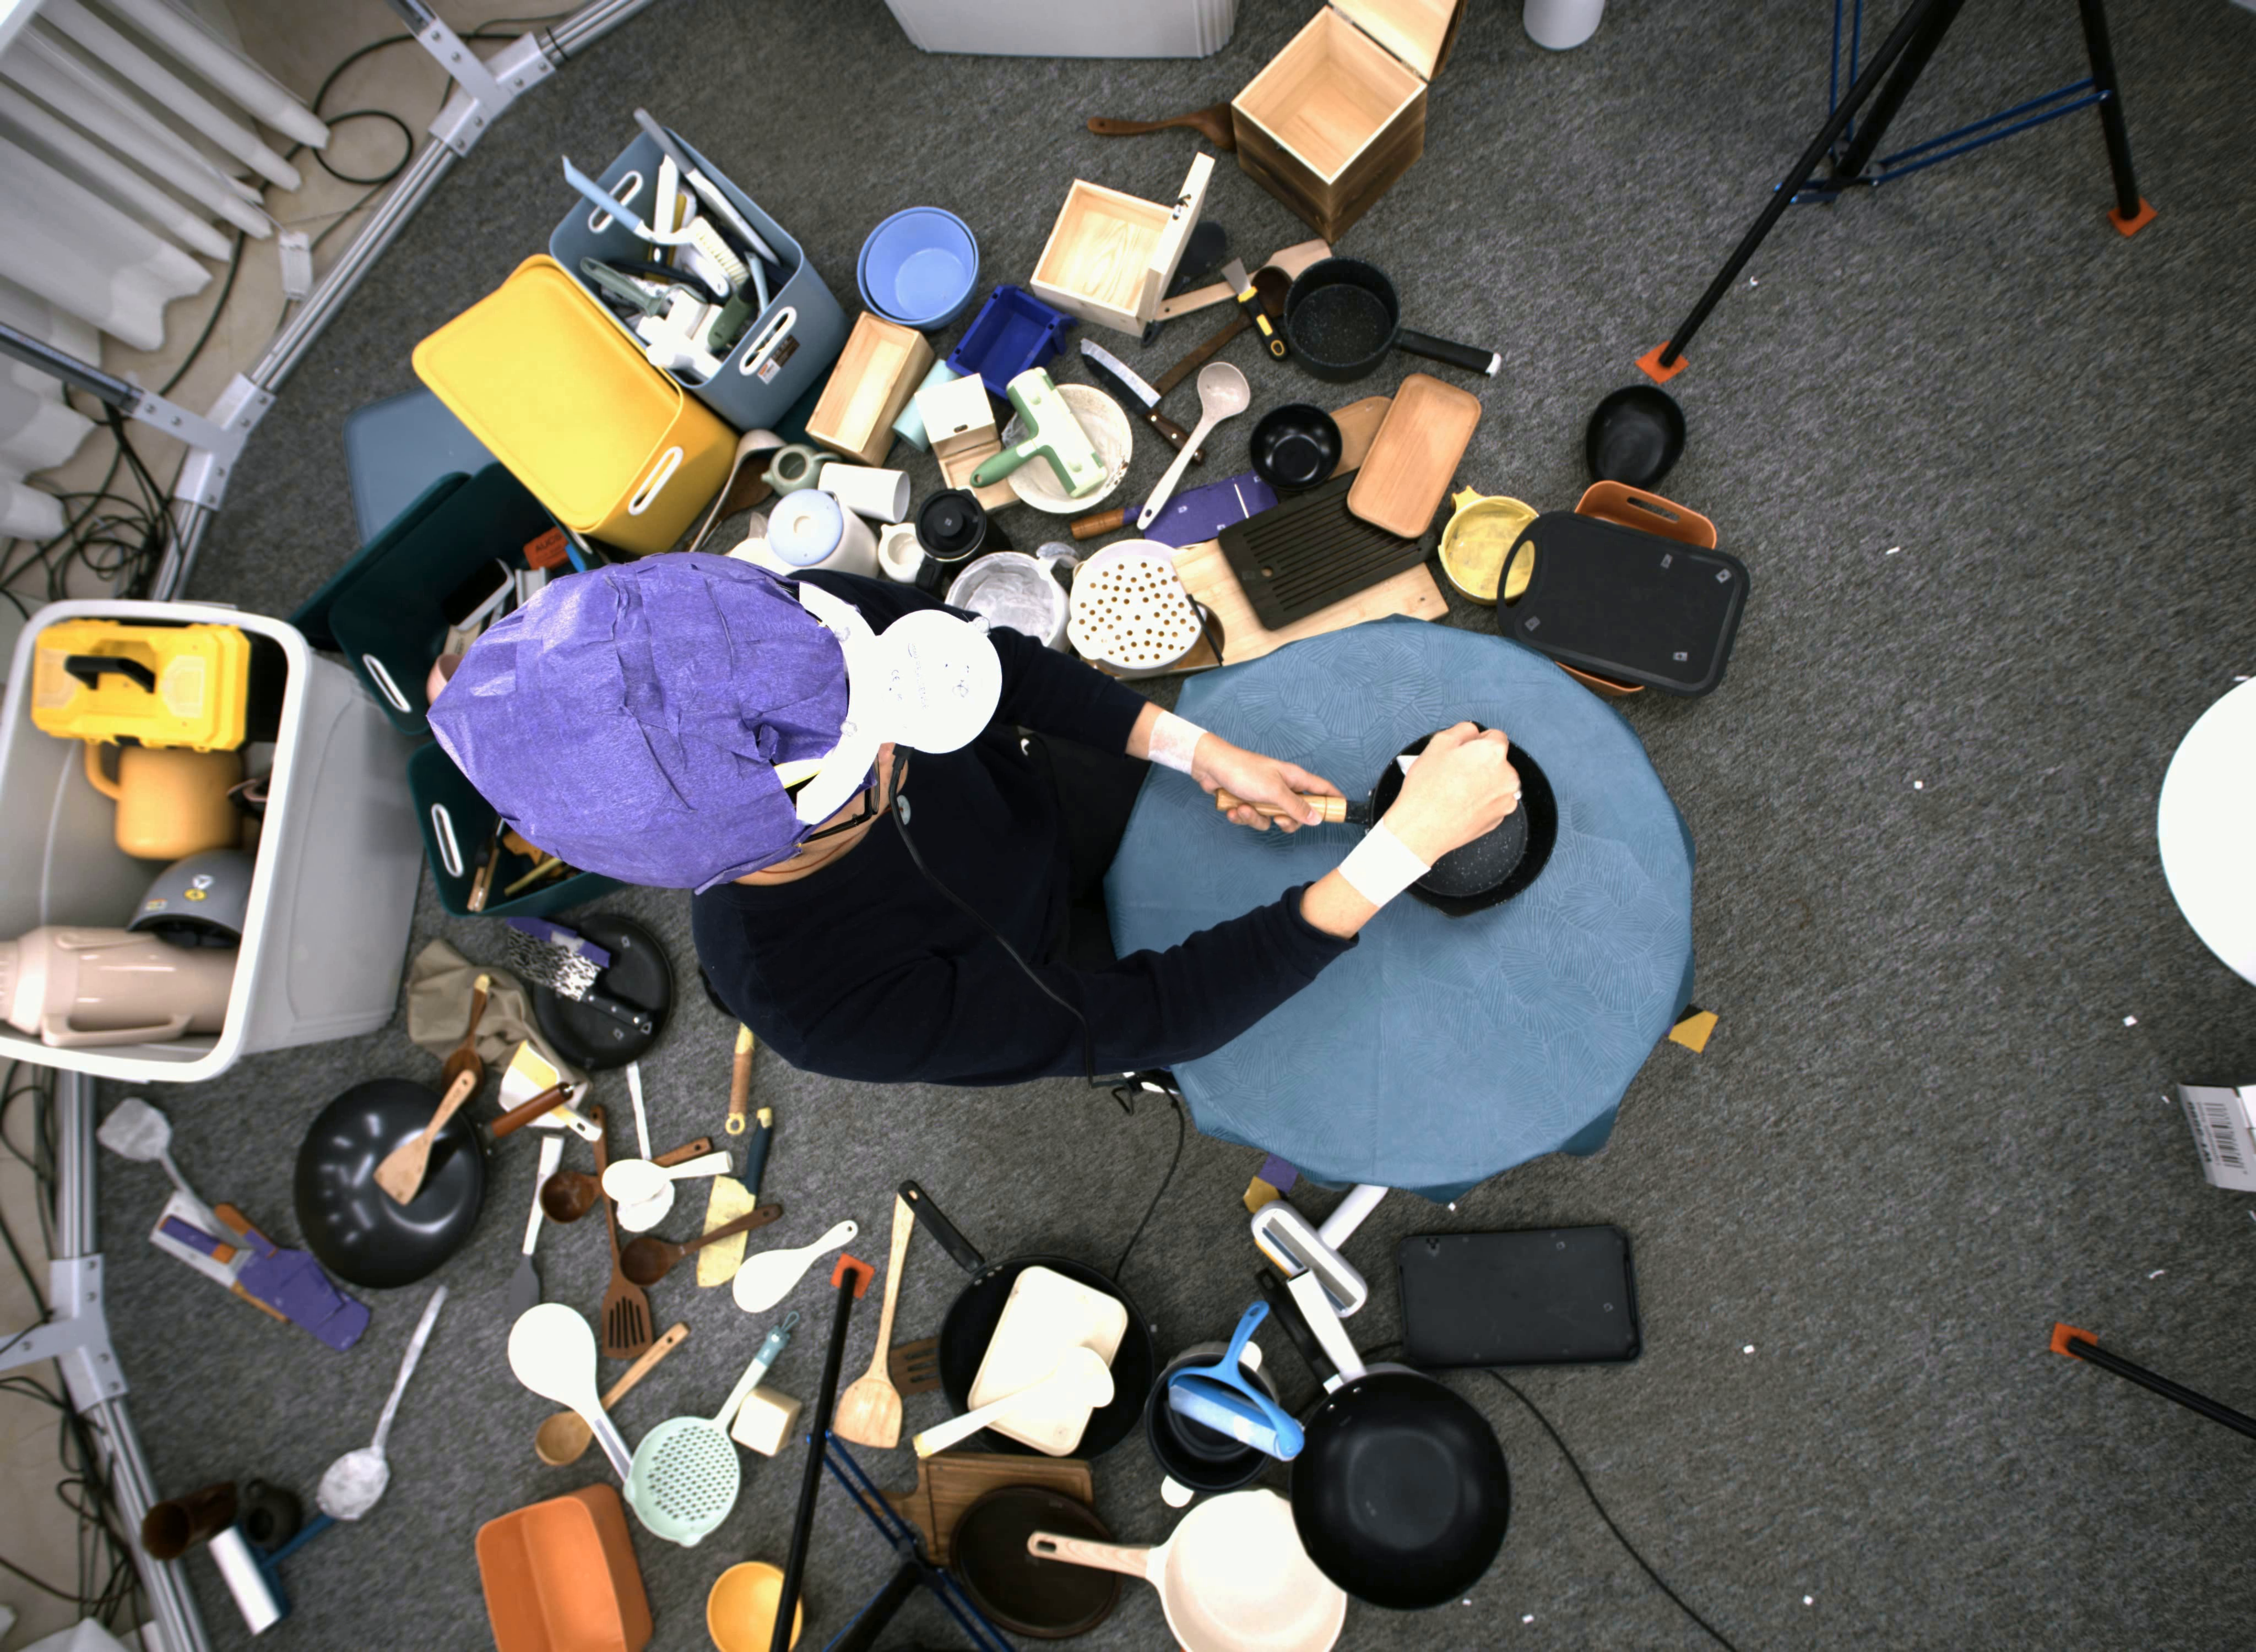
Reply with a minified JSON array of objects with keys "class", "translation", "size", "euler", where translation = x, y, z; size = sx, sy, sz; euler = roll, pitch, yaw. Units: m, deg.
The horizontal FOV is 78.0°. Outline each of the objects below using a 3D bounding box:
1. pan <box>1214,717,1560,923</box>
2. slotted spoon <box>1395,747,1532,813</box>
[{"class":"pan","translation":[0.261,-0.010,1.411],"size":[0.344,0.108,0.207],"euler":[4,88,9]},{"class":"slotted spoon","translation":[0.310,-0.052,1.256],"size":[0.137,0.349,0.050],"euler":[15,84,11]}]
